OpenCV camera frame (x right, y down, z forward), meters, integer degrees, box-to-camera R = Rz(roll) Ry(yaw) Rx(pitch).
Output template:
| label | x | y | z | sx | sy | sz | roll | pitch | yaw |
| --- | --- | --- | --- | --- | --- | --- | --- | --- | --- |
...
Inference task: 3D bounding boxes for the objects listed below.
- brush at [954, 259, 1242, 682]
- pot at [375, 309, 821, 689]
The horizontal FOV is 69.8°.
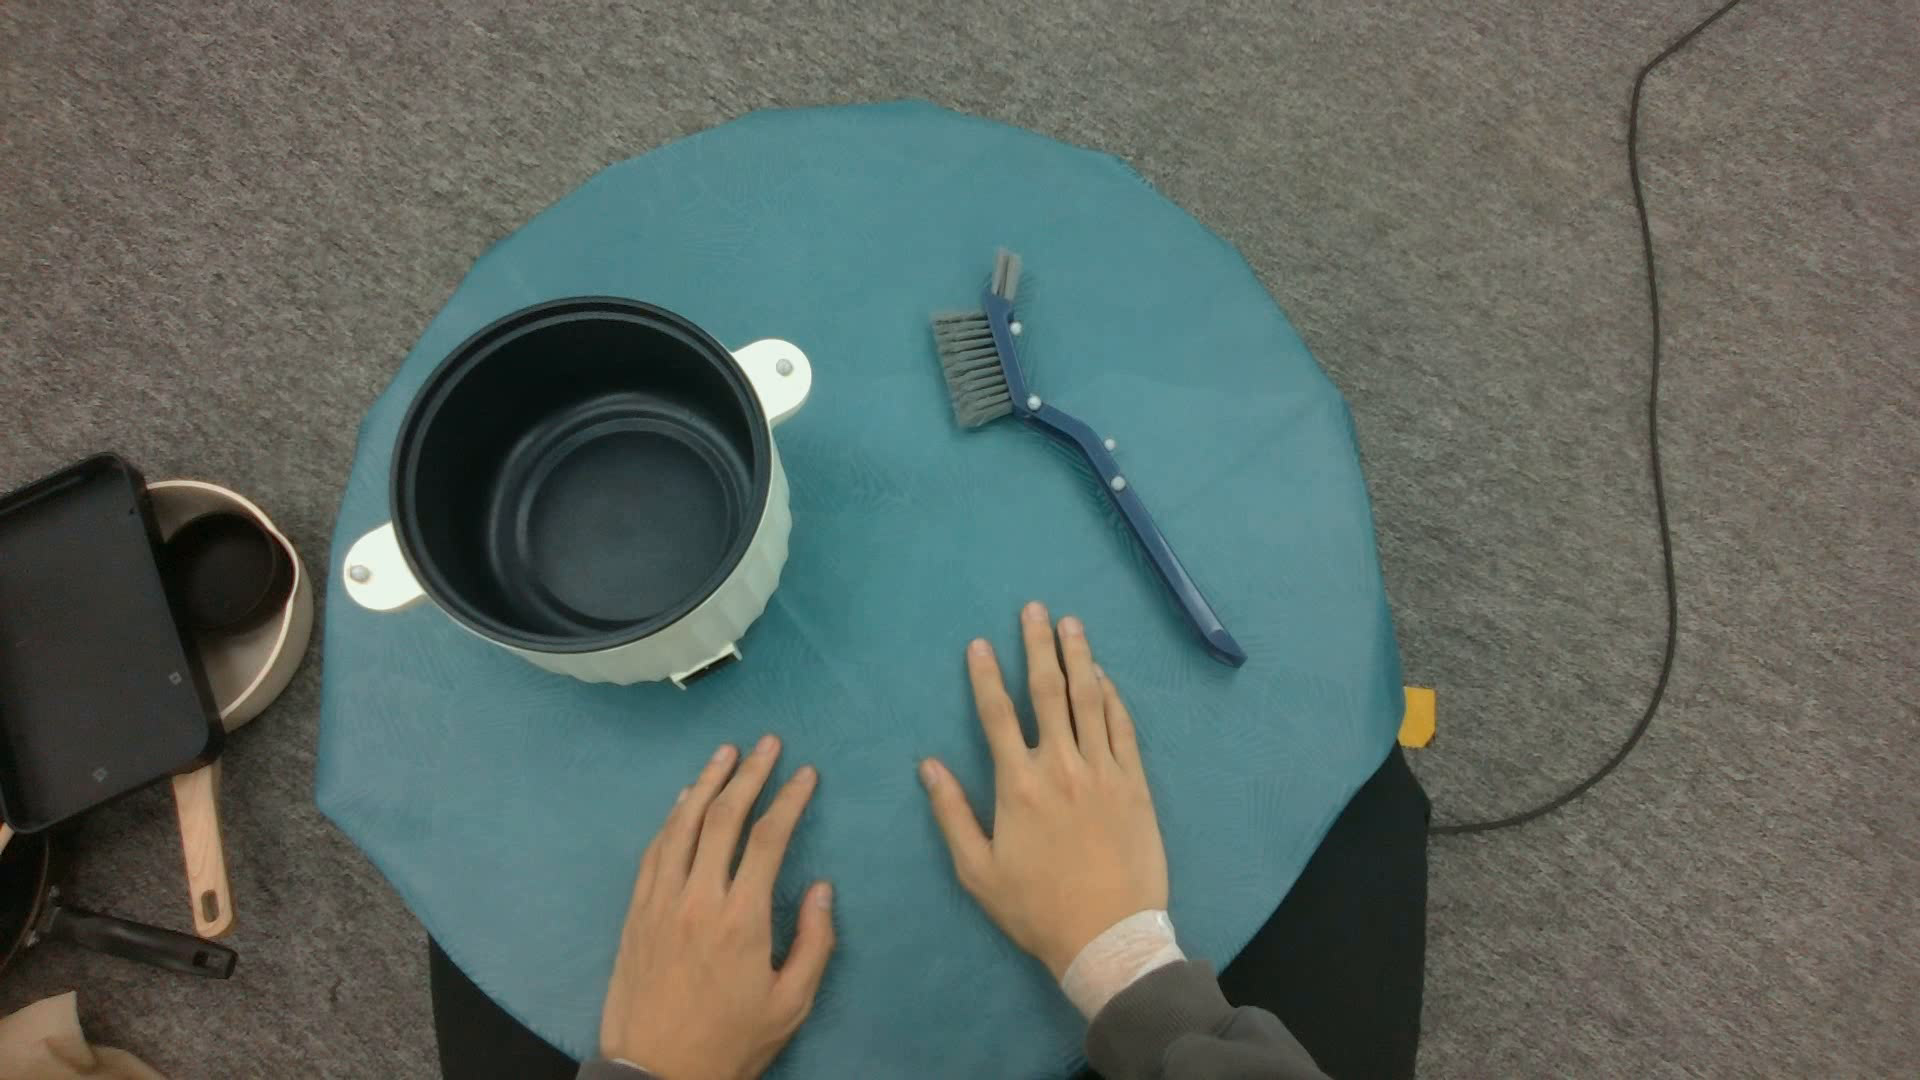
| label | x | y | z | sx | sy | sz | roll | pitch | yaw |
| --- | --- | --- | --- | --- | --- | --- | --- | --- | --- |
| brush | 0.091 | -0.043 | 0.797 | 0.096 | 0.033 | 0.273 | -37 | 74 | -10 |
| pot | -0.180 | -0.017 | 0.739 | 0.241 | 0.142 | 0.190 | -28 | 79 | -9 |
